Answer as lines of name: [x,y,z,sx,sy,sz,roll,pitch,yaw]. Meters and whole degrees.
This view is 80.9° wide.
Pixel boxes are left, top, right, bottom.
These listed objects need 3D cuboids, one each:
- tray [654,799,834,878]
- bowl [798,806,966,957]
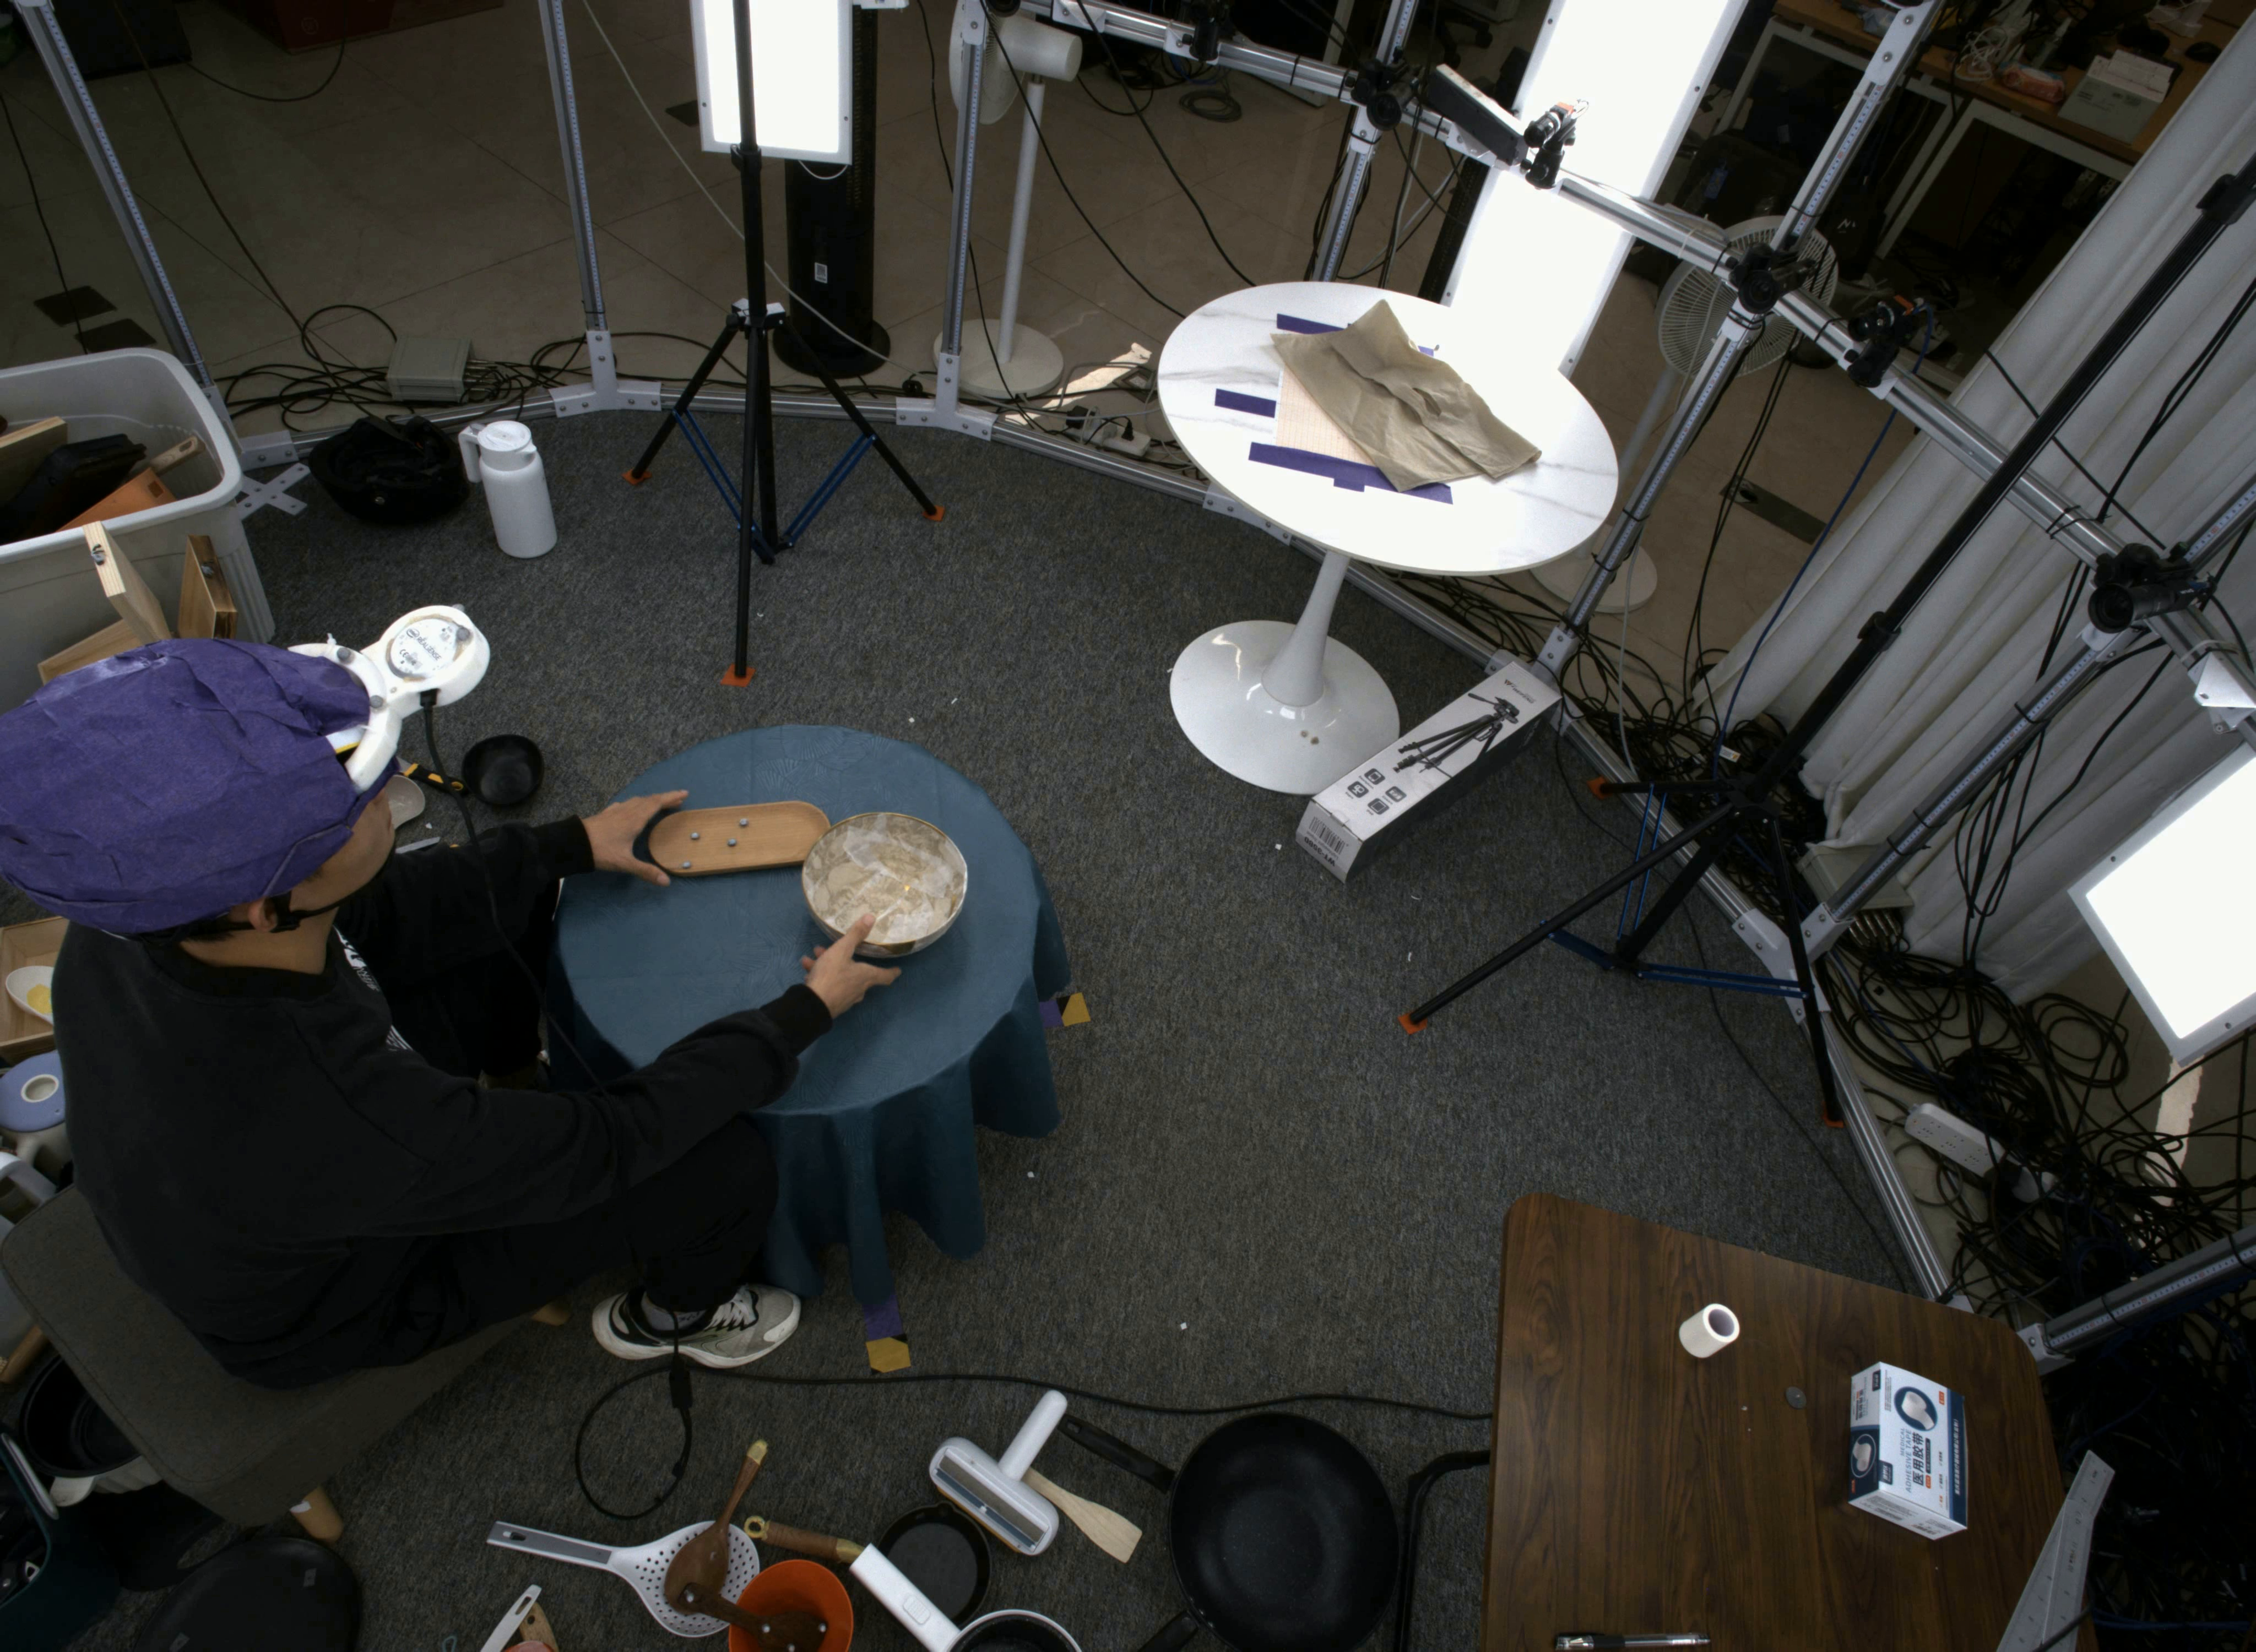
tray: [-0.501,0.015,1.689,0.232,0.020,0.099,-6,58,-21]
bowl: [-0.310,0.082,1.637,0.214,0.096,0.211,8,54,-9]
